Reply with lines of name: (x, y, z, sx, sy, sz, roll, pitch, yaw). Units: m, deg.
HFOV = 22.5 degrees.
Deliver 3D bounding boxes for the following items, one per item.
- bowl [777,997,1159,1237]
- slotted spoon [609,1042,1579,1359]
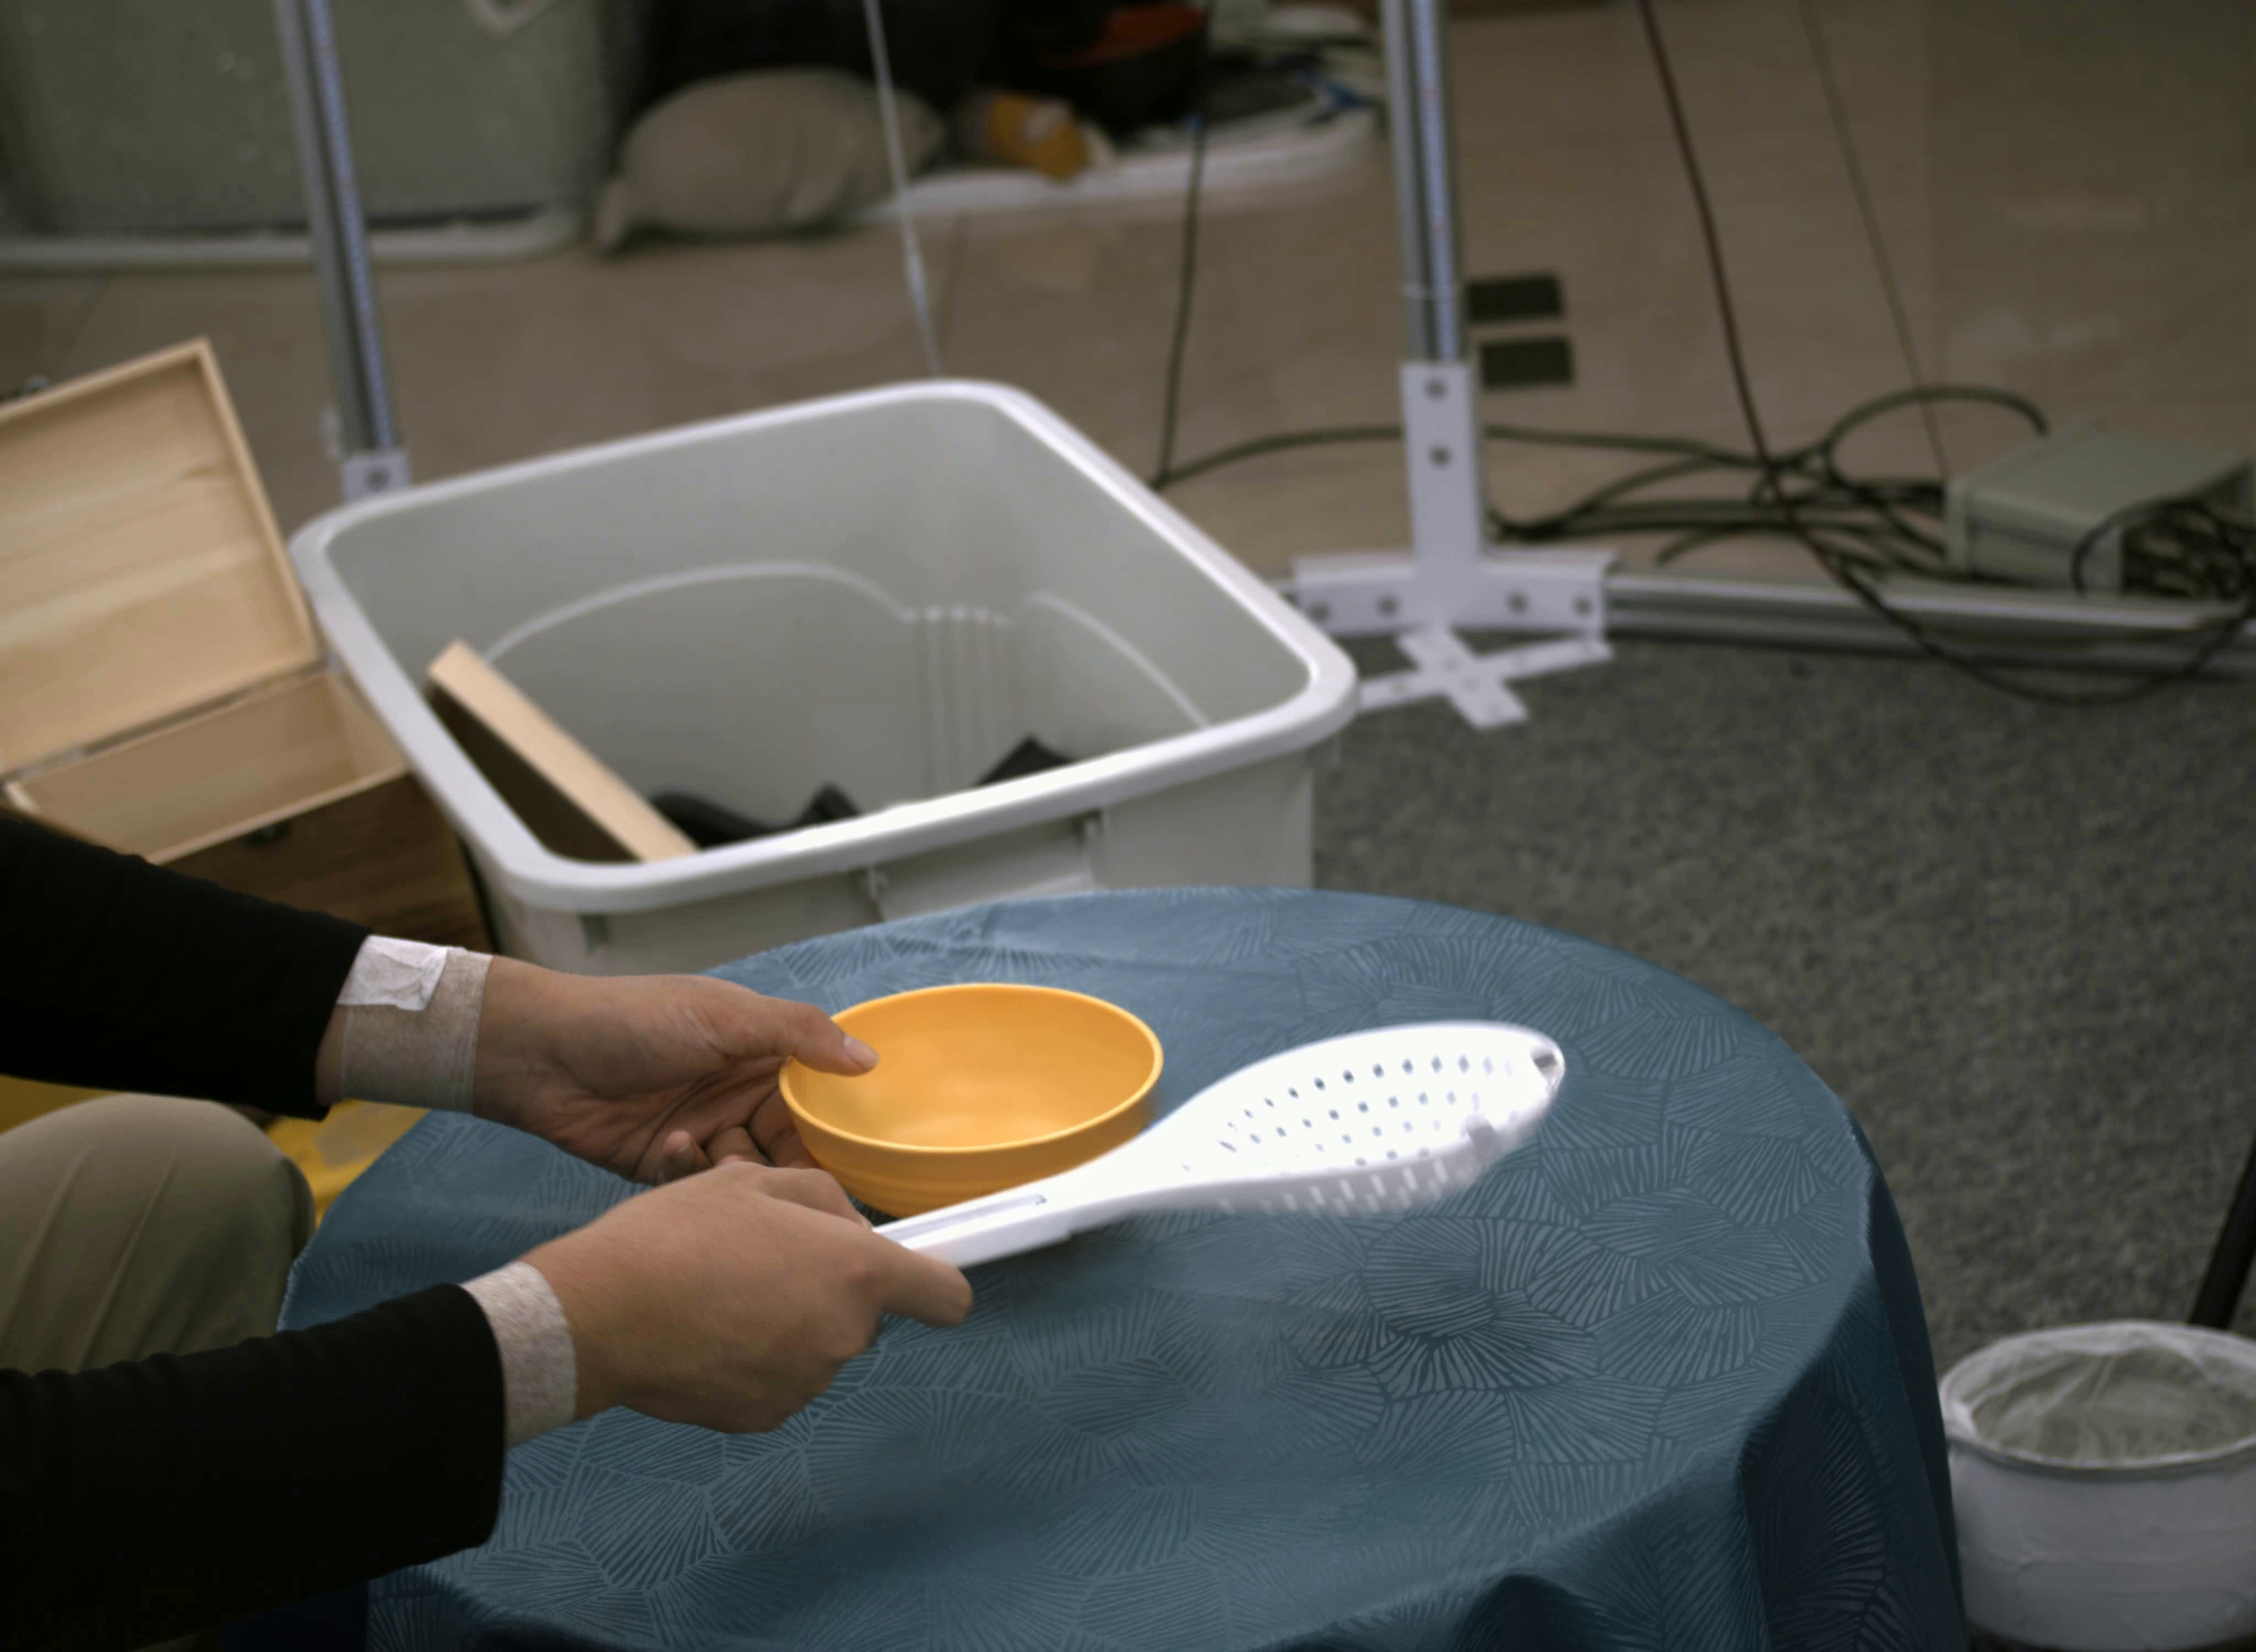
bowl: (-0.059, 0.118, 2.136, 0.145, 0.061, 0.143, -2, 22, 1)
slotted spoon: (-0.009, 0.133, 1.966, 0.349, 0.046, 0.134, -9, 19, -17)
